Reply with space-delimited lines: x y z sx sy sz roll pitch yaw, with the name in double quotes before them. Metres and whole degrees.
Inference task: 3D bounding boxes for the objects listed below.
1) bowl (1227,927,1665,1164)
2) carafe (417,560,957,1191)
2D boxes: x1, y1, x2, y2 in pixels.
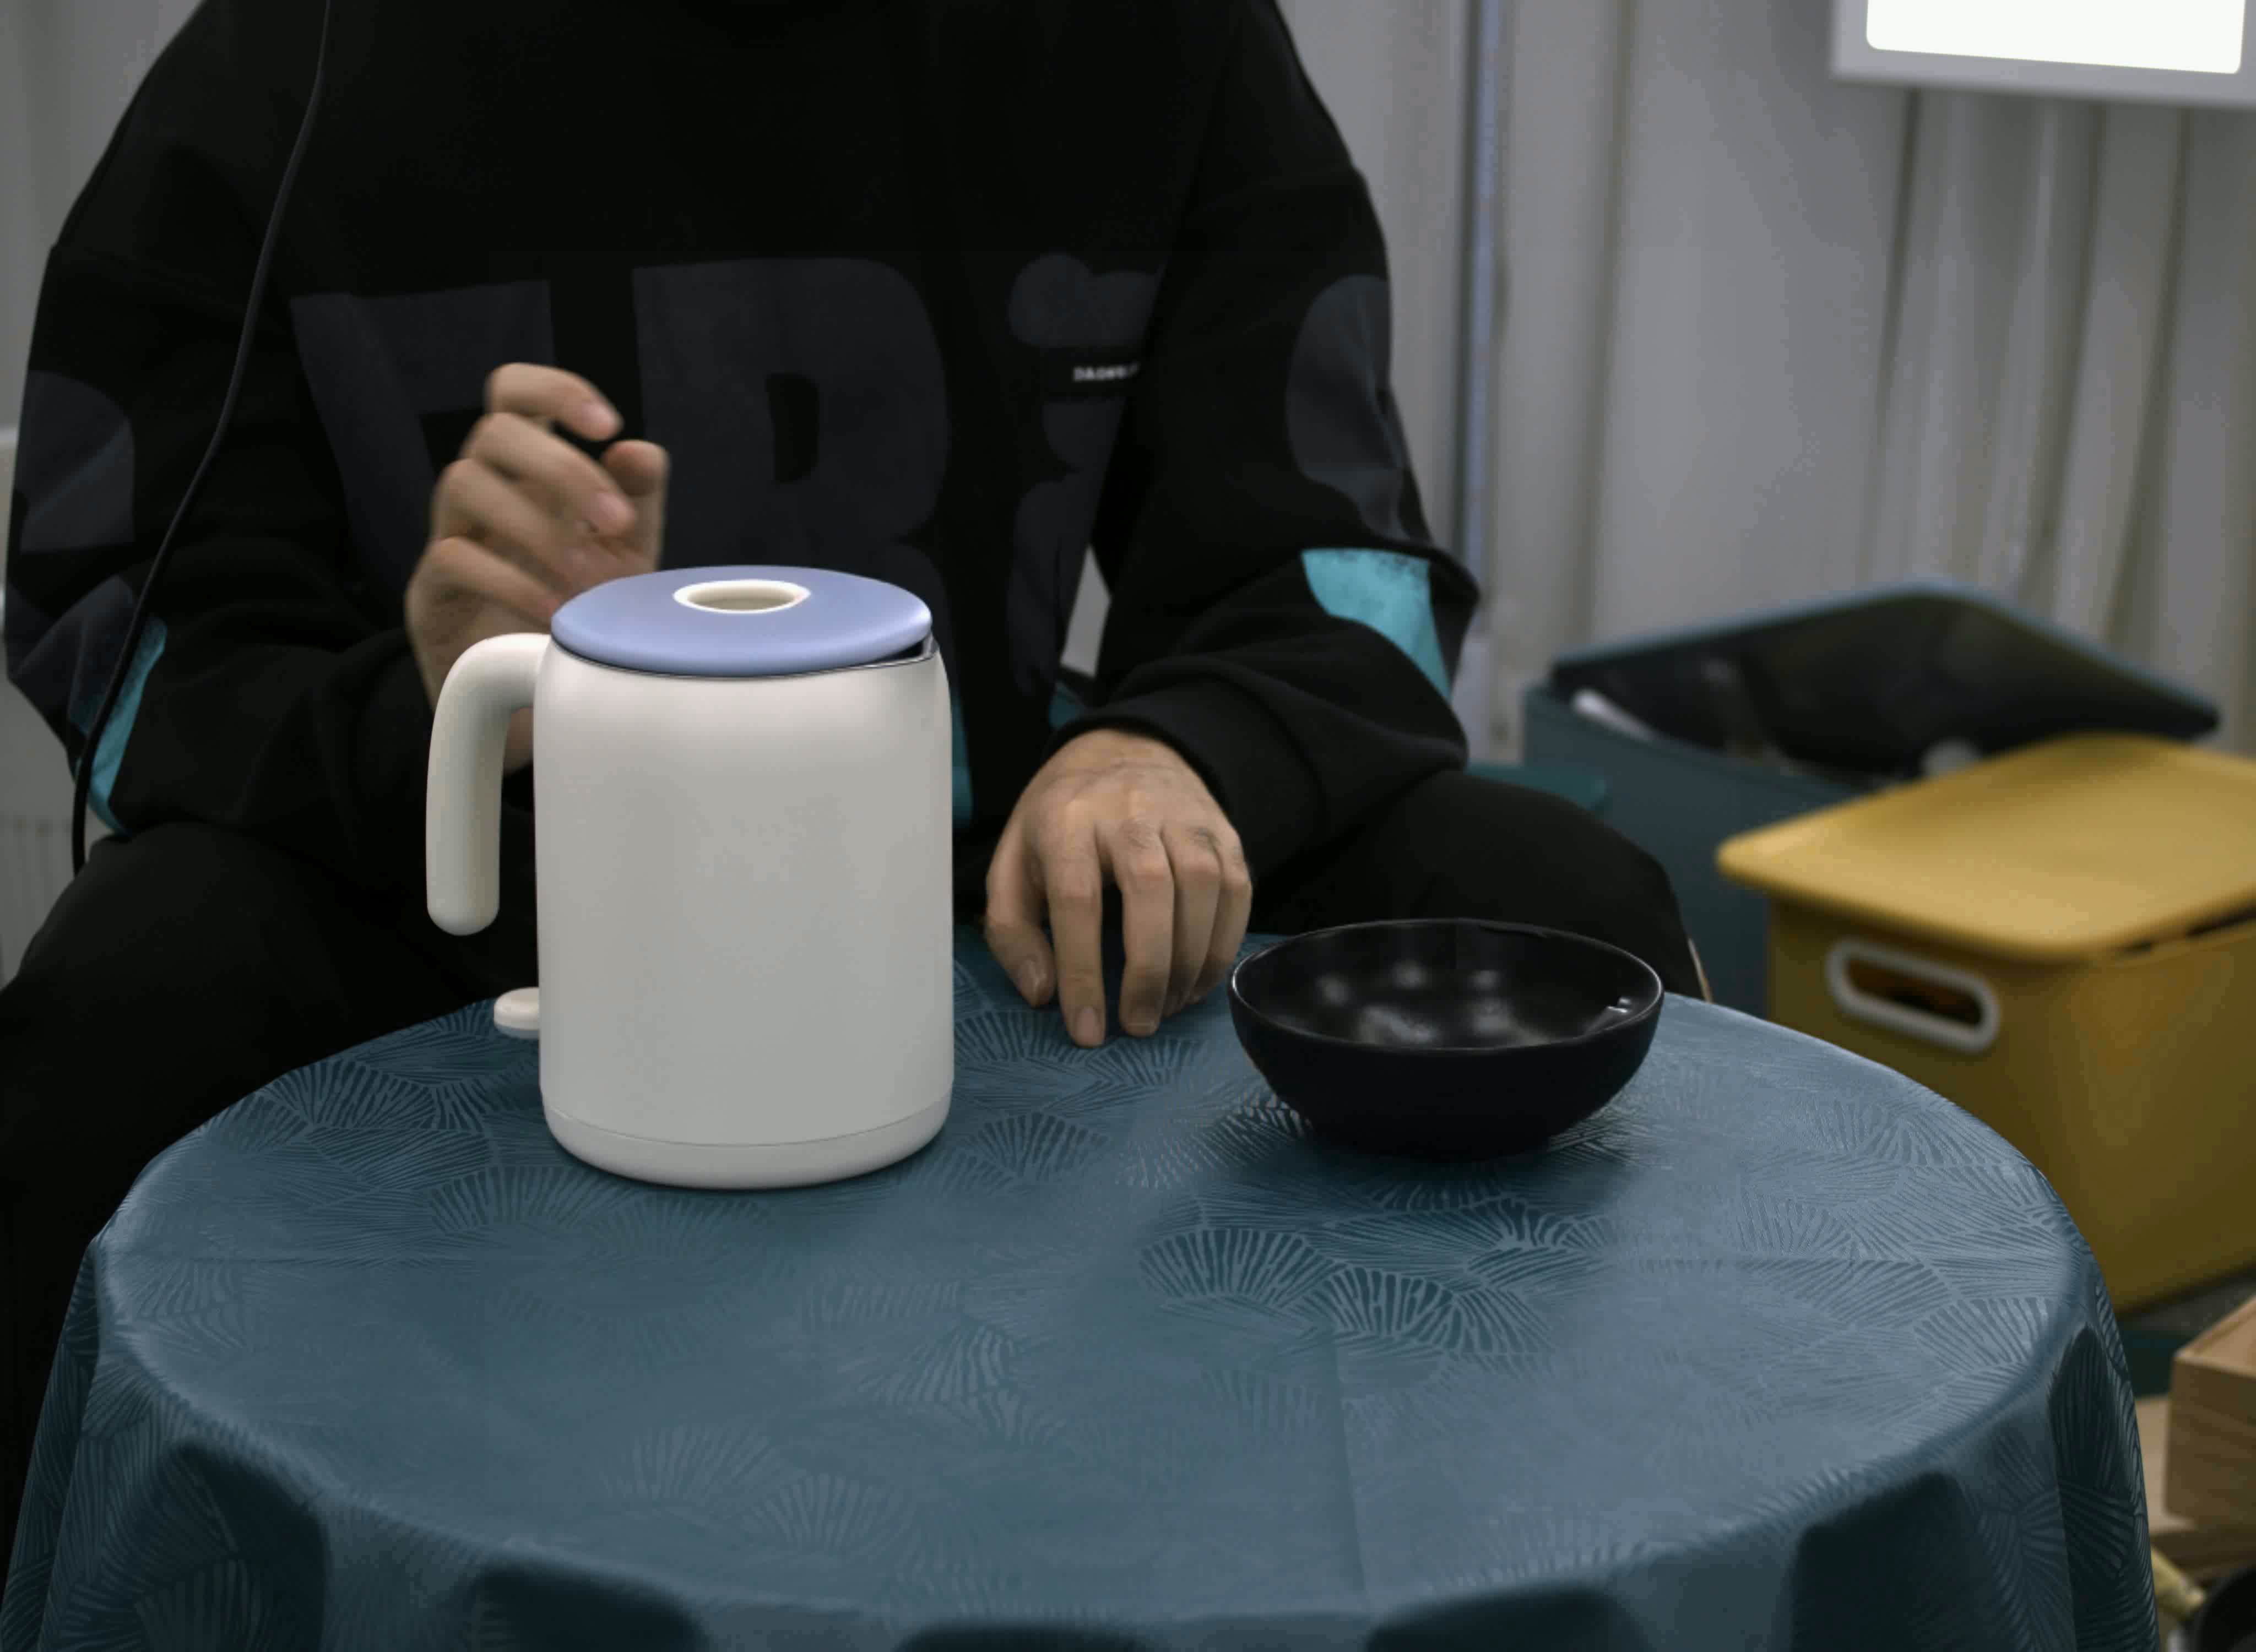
"bowl" 0.101 0.074 1.673 0.139 0.050 0.139 -1 14 1
"carafe" -0.142 0.012 1.656 0.189 0.184 0.132 6 16 26
